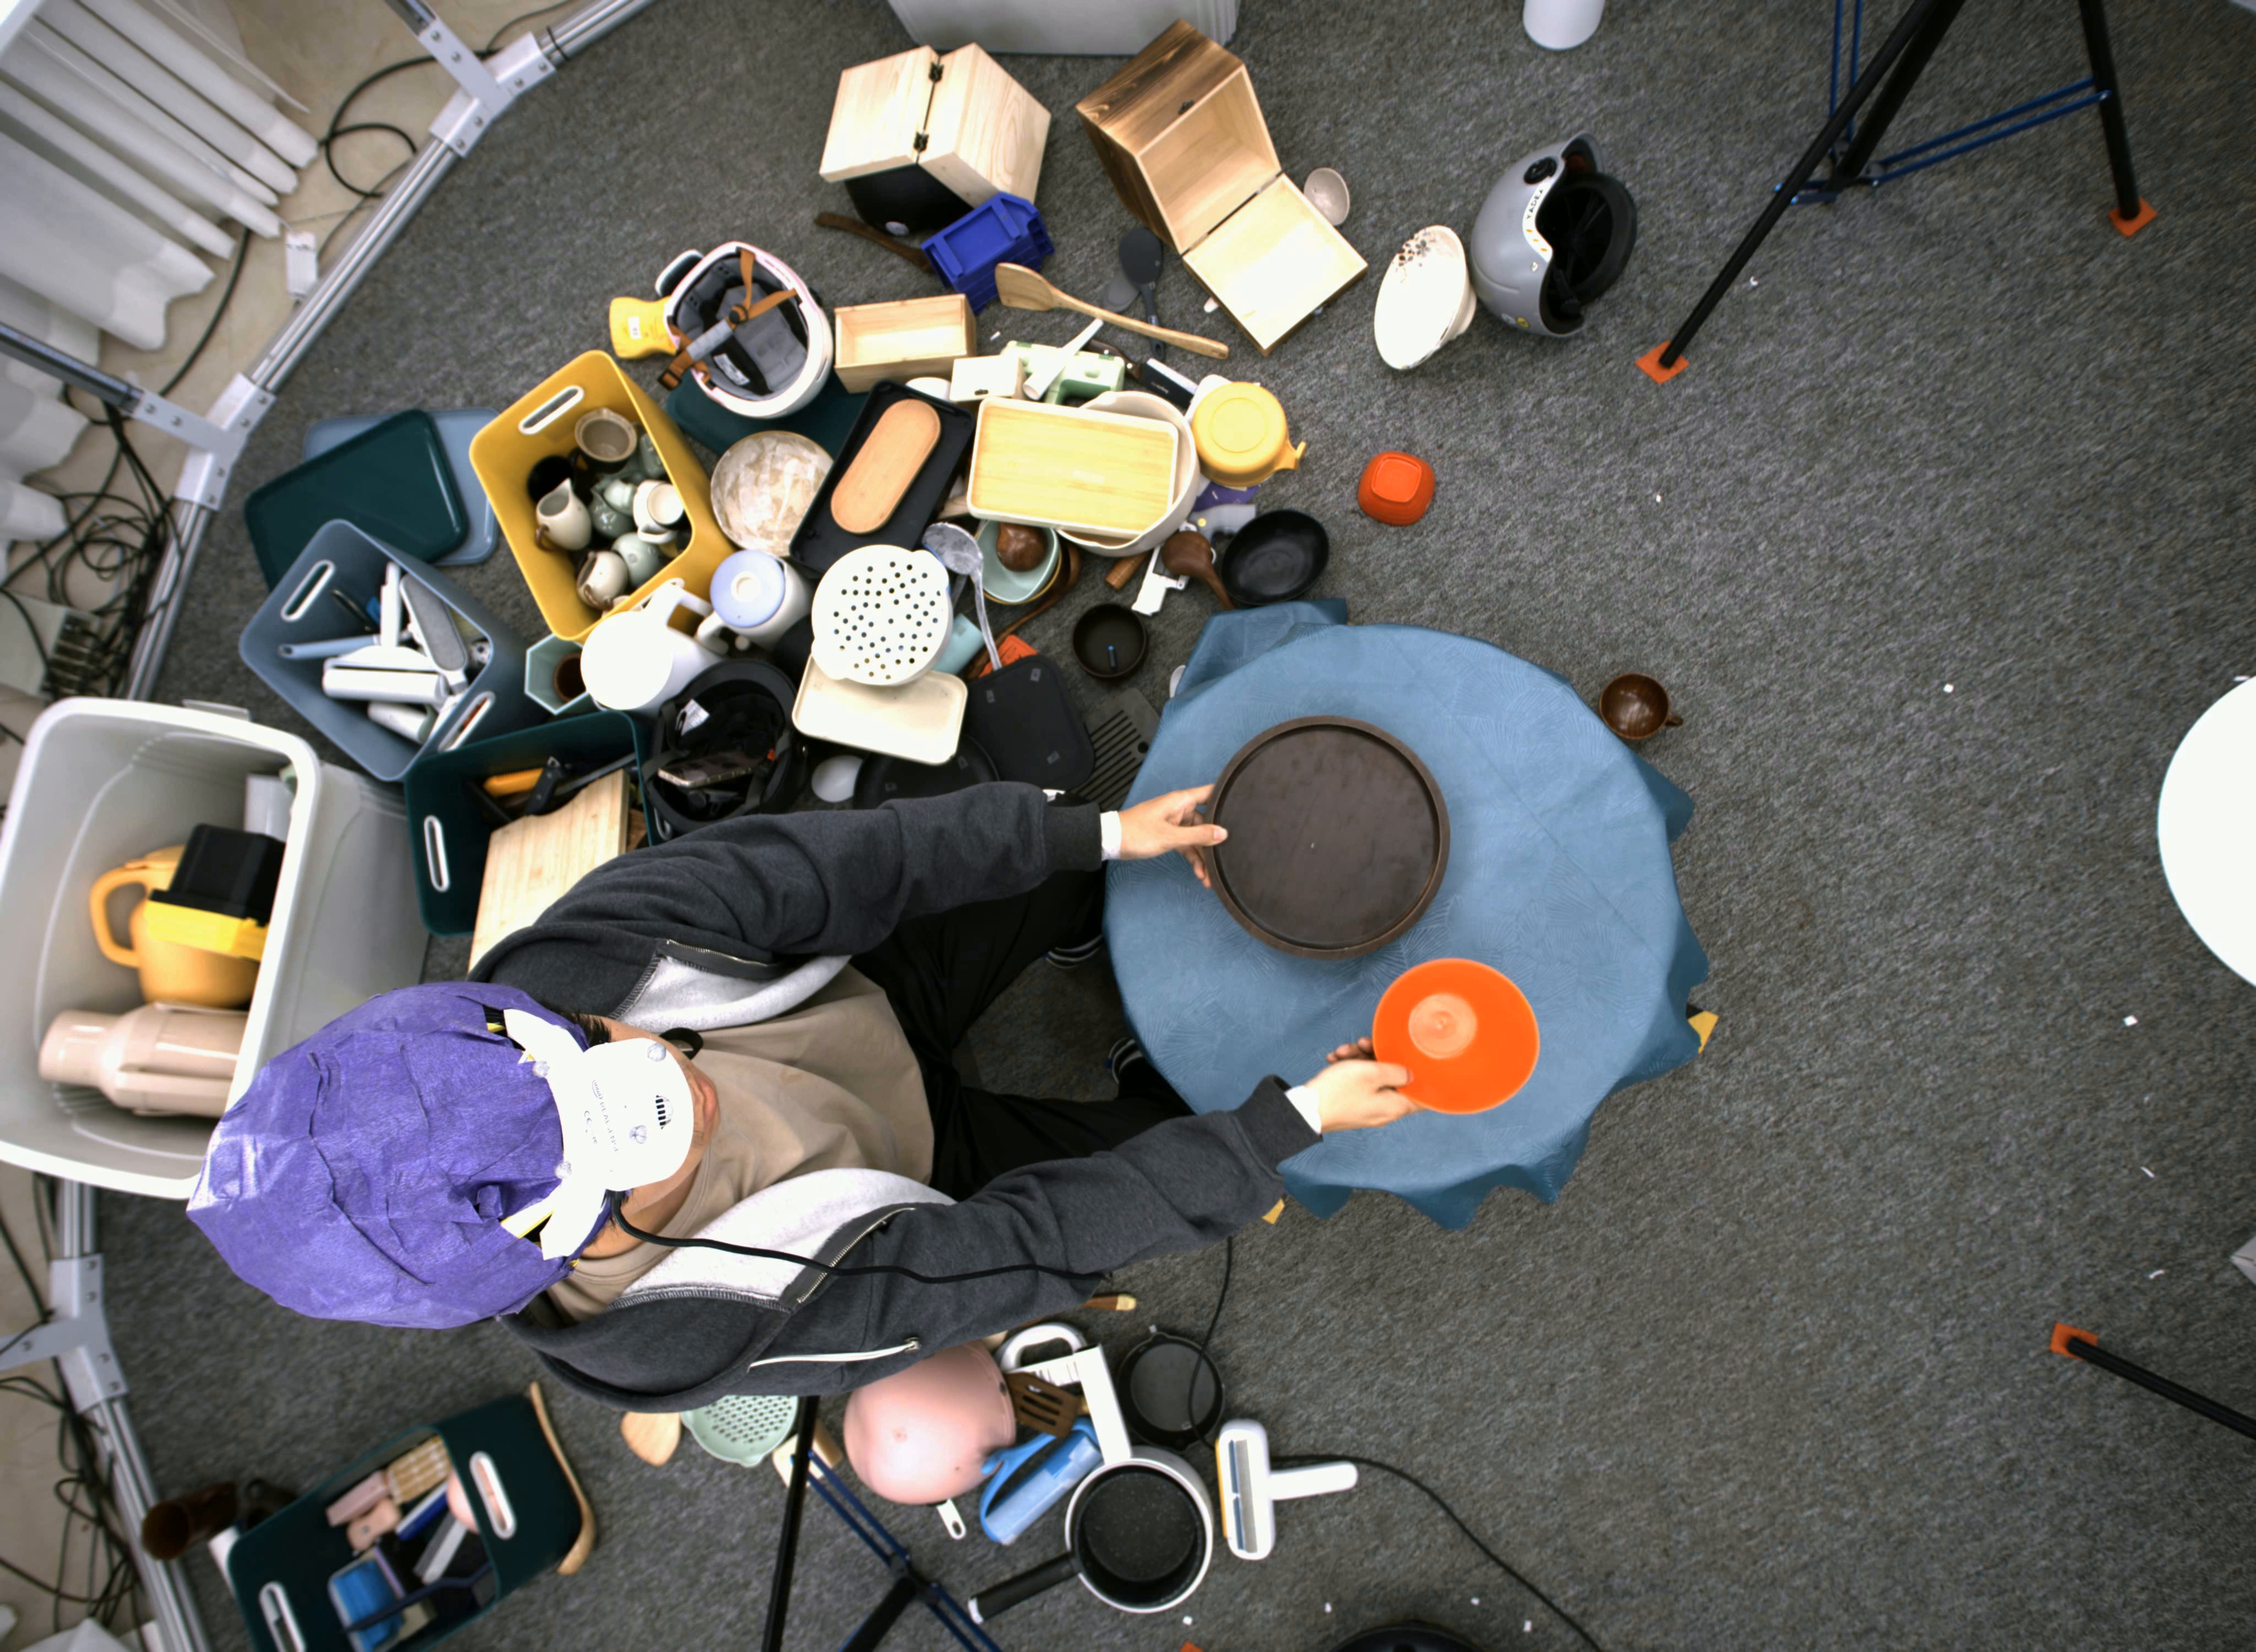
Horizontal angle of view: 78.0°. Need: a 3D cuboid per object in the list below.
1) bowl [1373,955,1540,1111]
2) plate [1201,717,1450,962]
[{"bbox_3d":[0.304,0.184,1.288,0.148,0.104,0.149,1,97,11],"label":"bowl"},{"bbox_3d":[0.202,0.012,1.417,0.255,0.029,0.254,0,88,4],"label":"plate"}]
